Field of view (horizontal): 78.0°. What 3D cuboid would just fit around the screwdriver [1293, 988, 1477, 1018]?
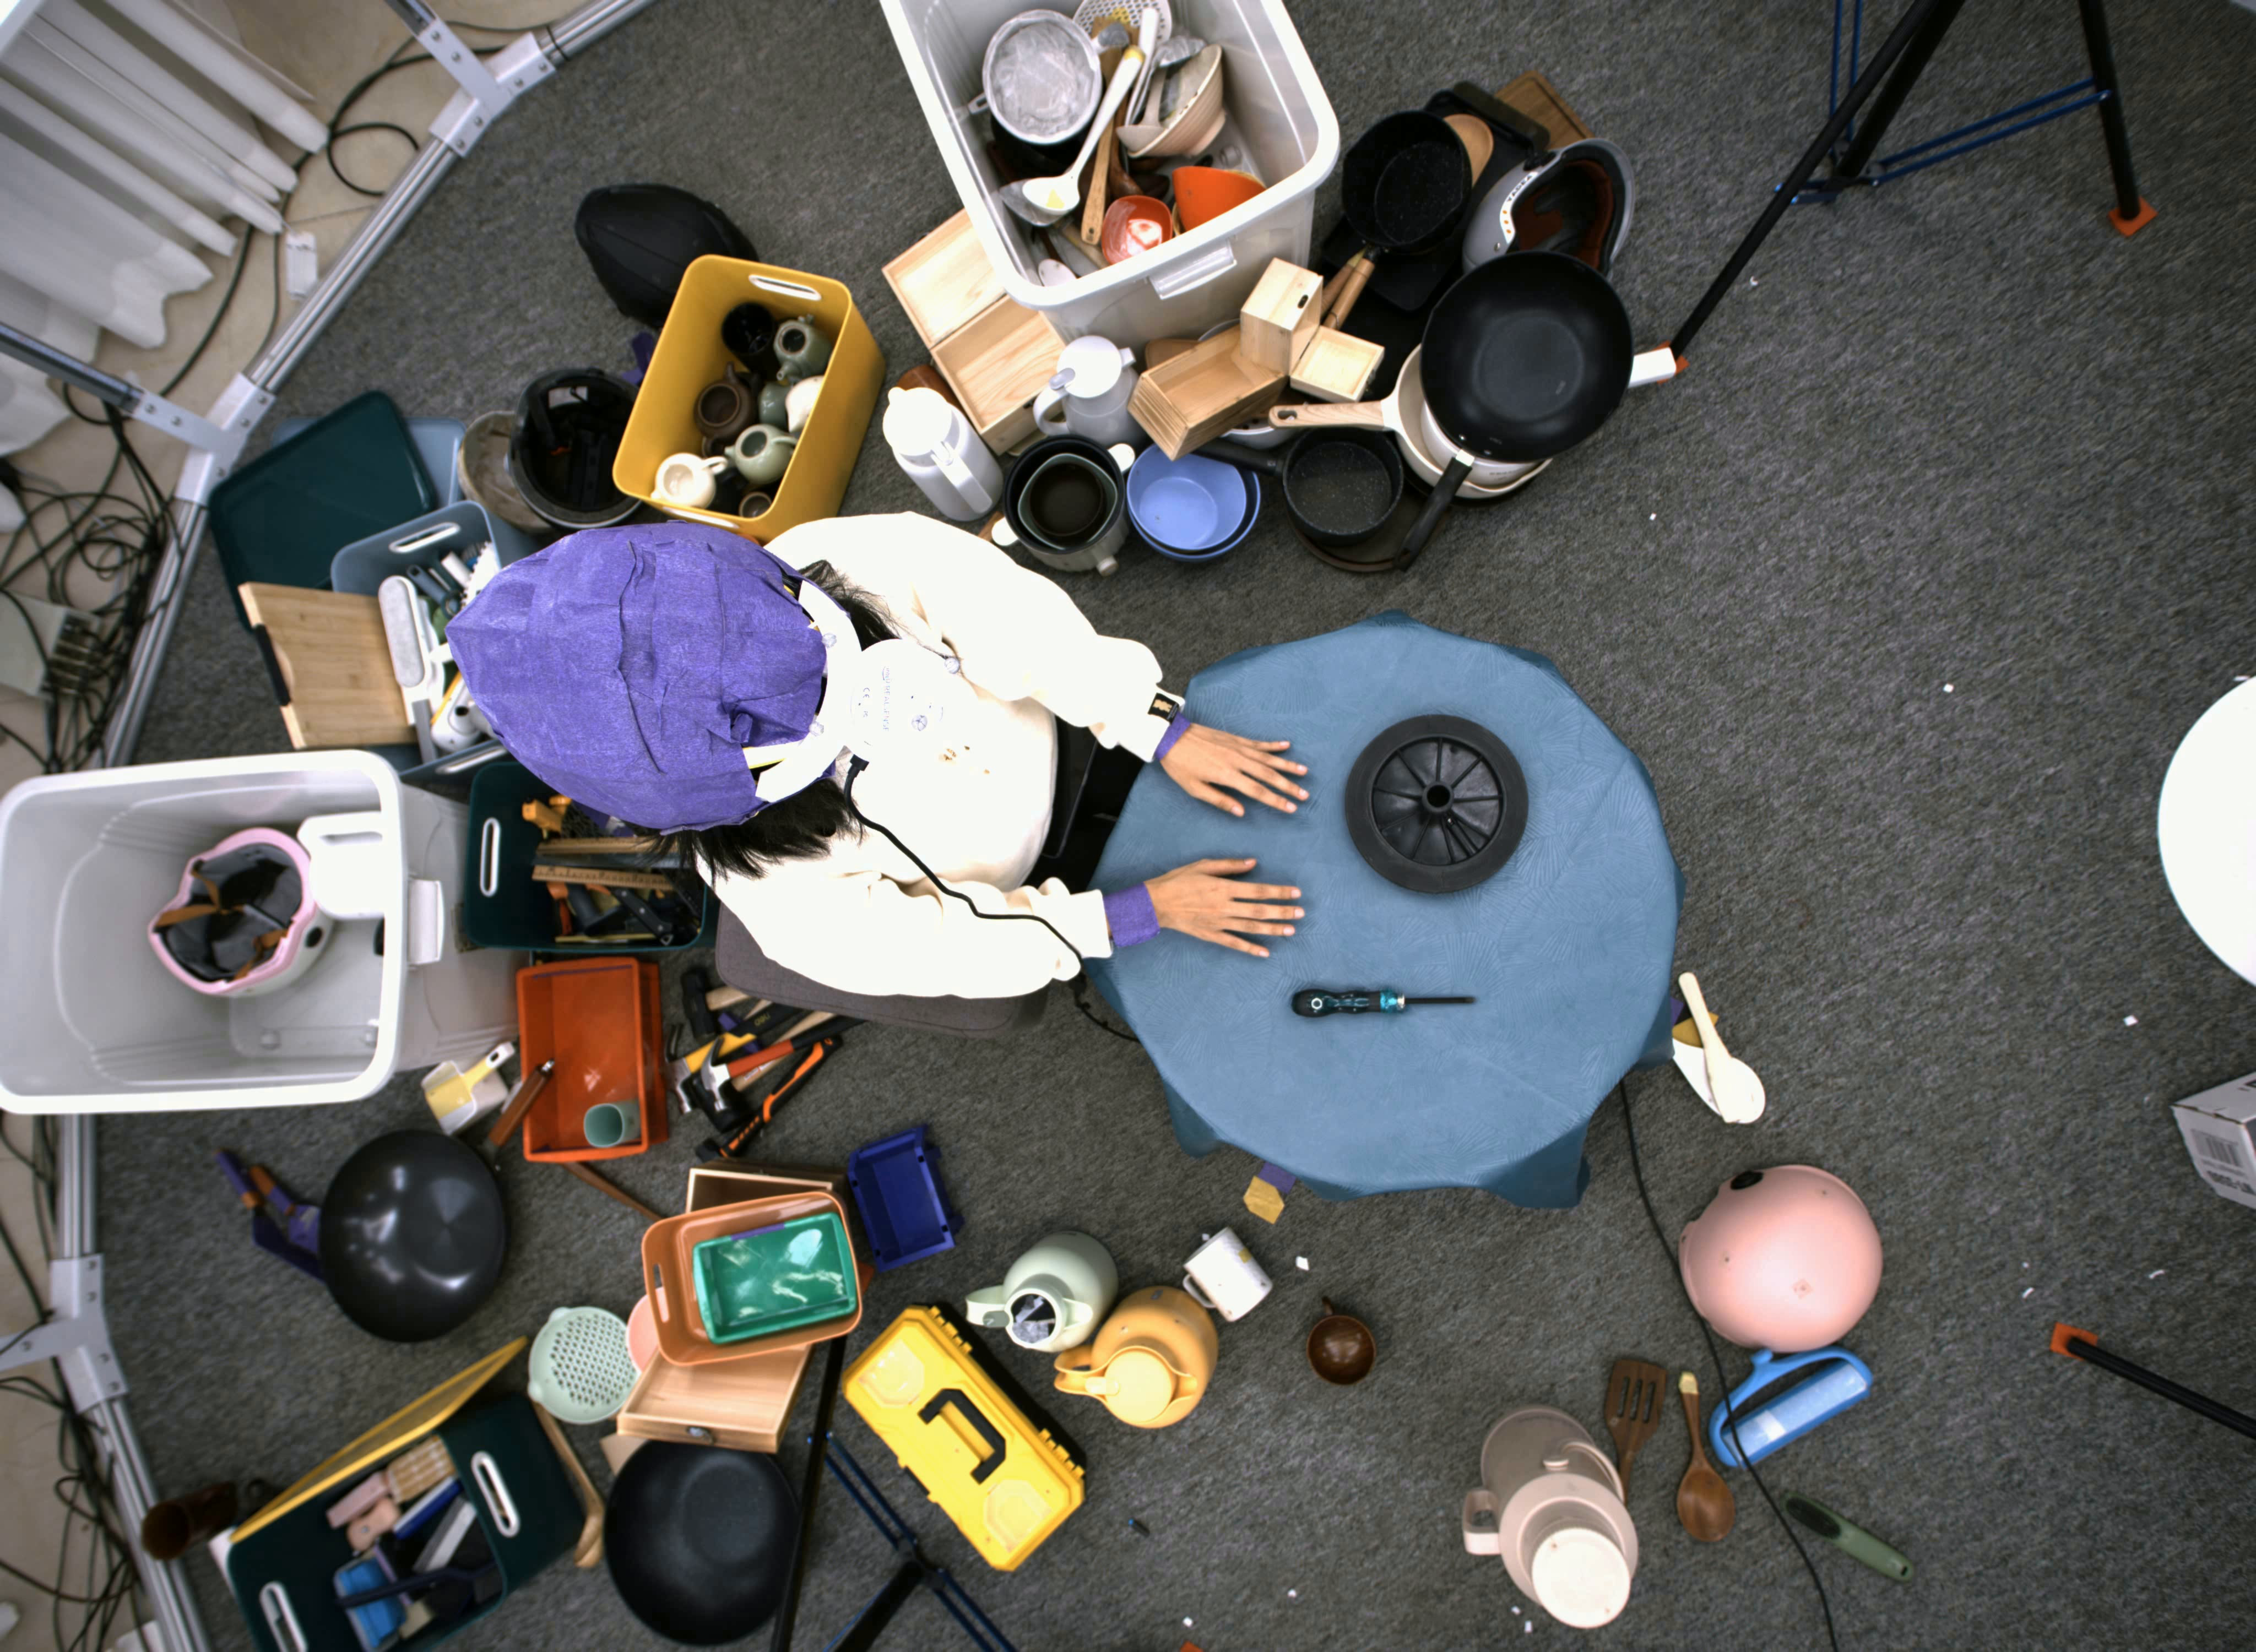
[{"bbox_3d":[0.268,0.183,1.444,0.190,0.034,0.033,-1,85,5],"label":"screwdriver"}]

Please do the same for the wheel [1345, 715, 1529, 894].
[{"bbox_3d":[0.320,-0.025,1.419,0.189,0.079,0.188,32,93,6],"label":"wheel"}]
